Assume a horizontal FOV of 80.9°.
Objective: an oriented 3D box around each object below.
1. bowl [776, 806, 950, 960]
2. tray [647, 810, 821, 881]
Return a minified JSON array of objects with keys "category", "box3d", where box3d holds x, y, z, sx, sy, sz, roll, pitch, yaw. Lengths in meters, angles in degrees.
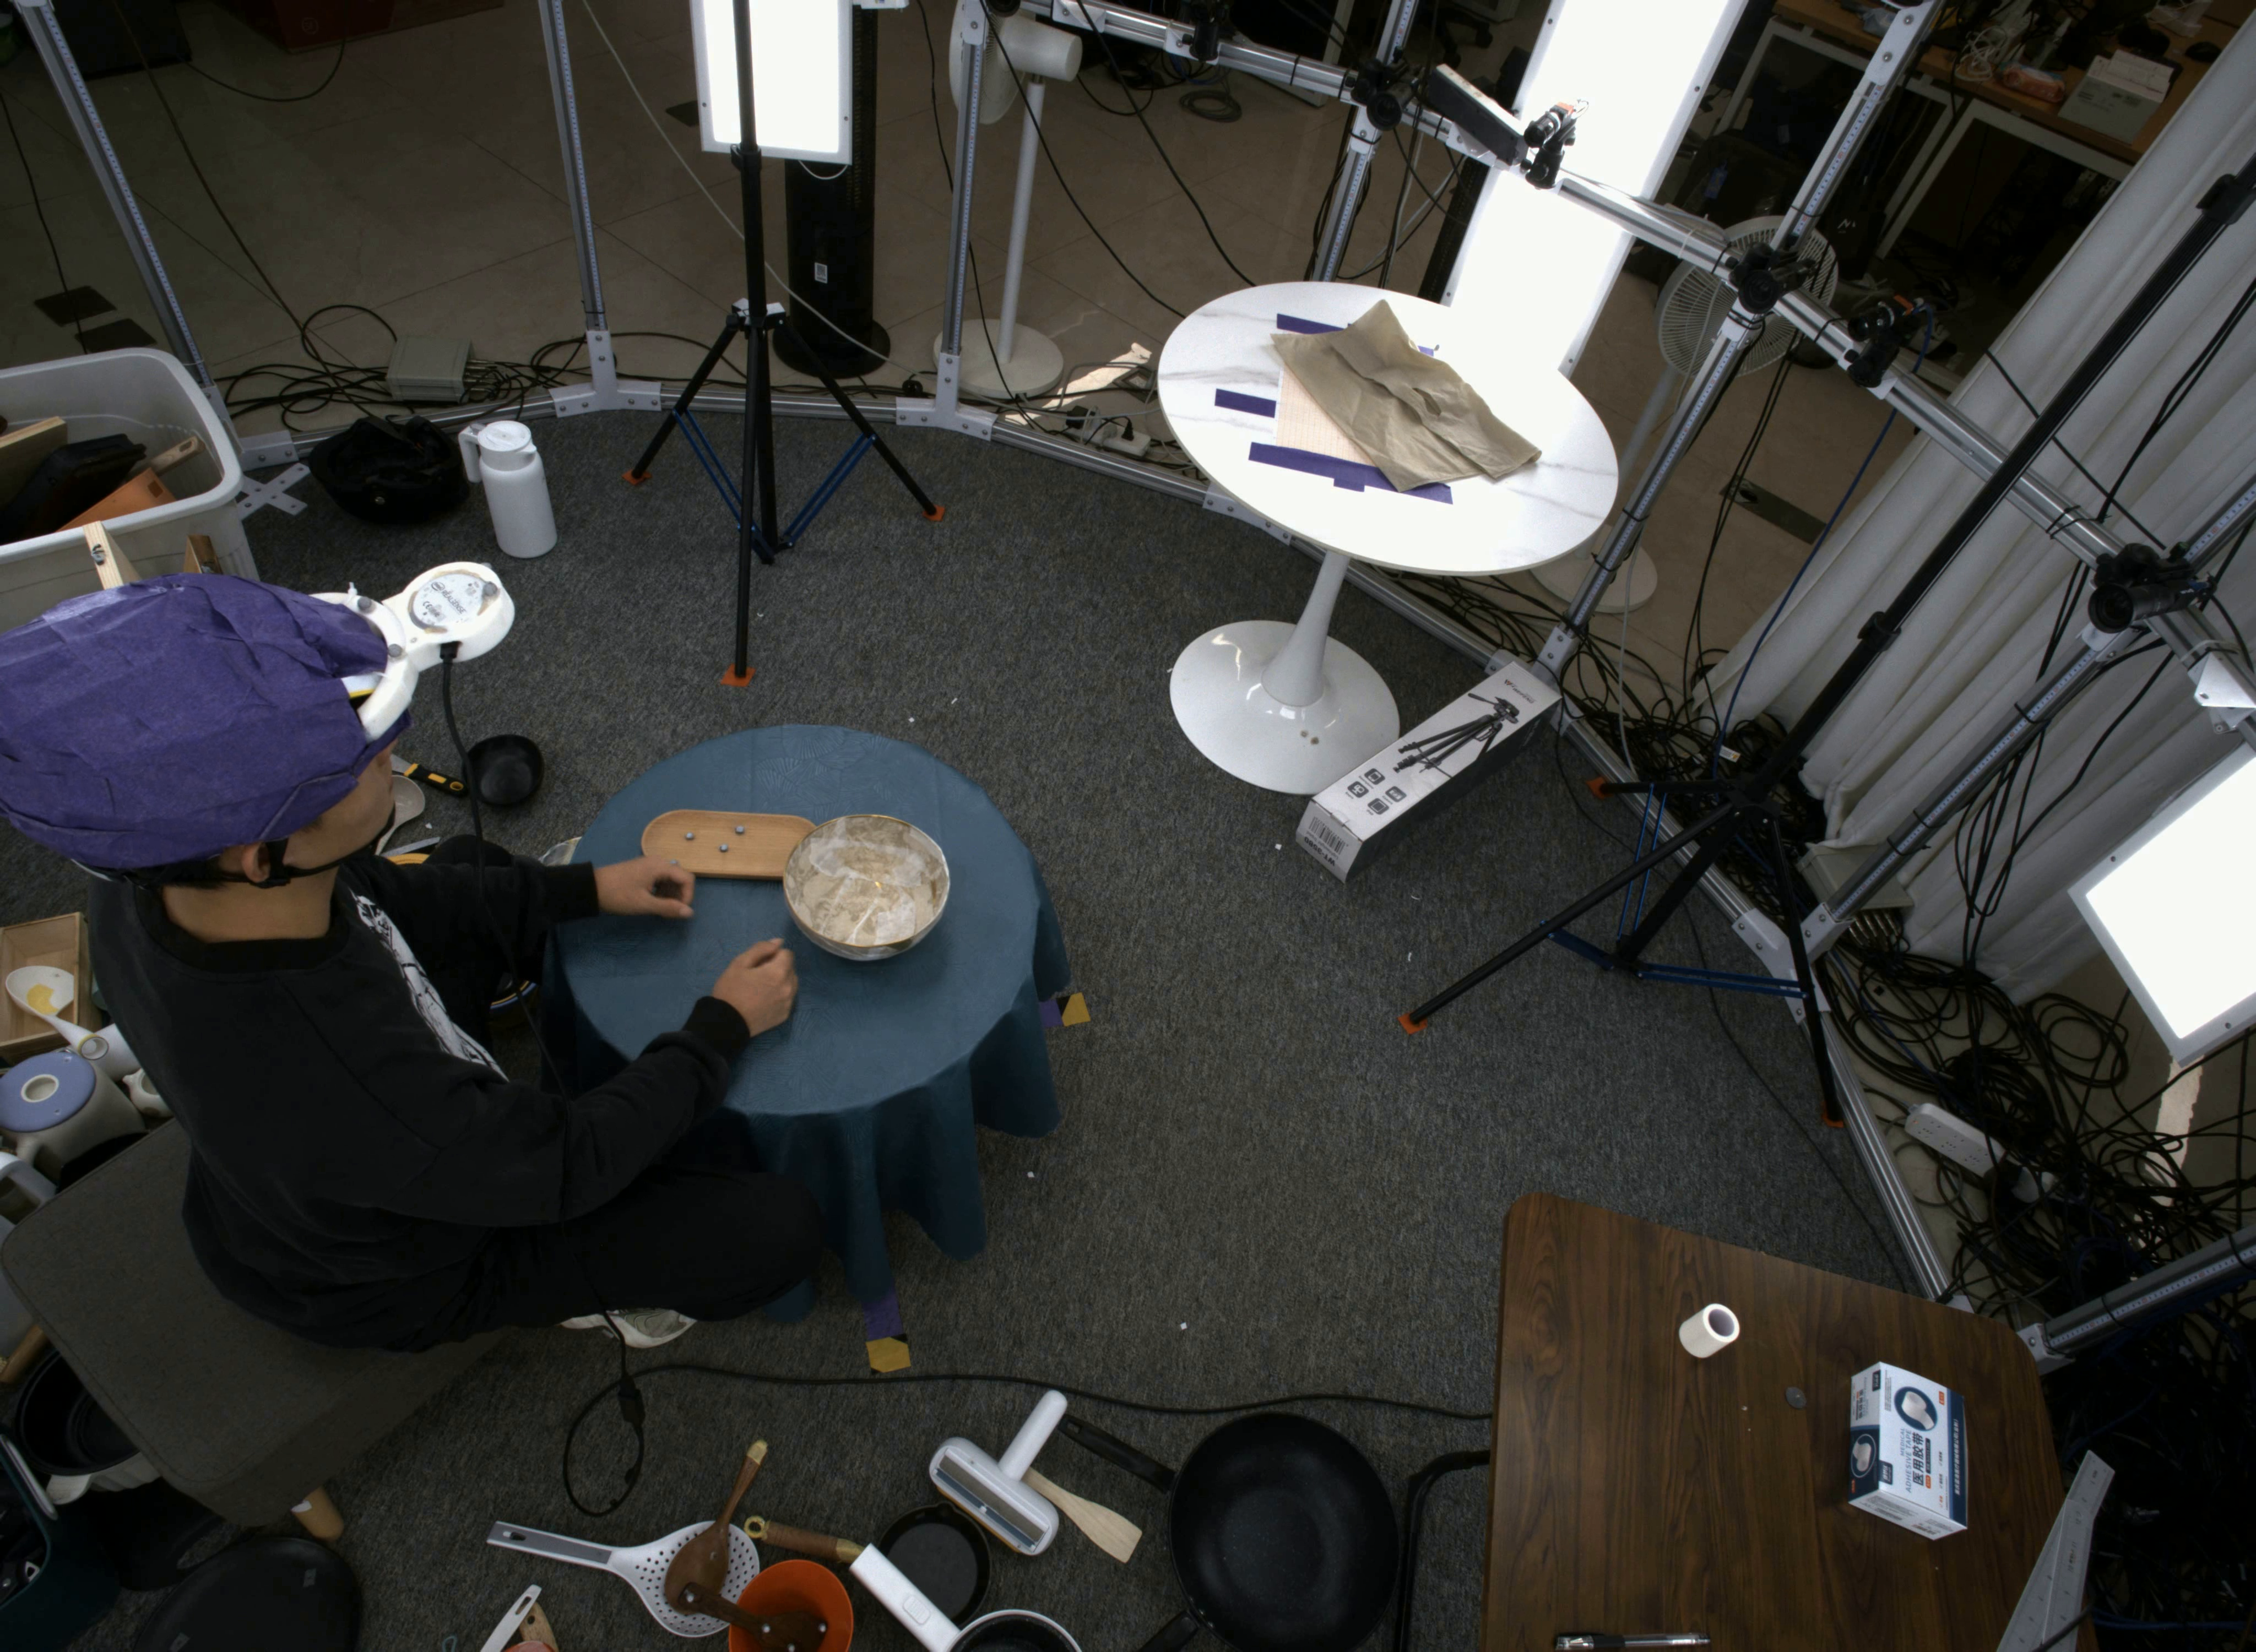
[{"category":"bowl","box3d":[-0.331,0.086,1.629,0.214,0.096,0.211,8,53,-9]},{"category":"tray","box3d":[-0.507,0.024,1.680,0.232,0.020,0.100,3,55,-14]}]
